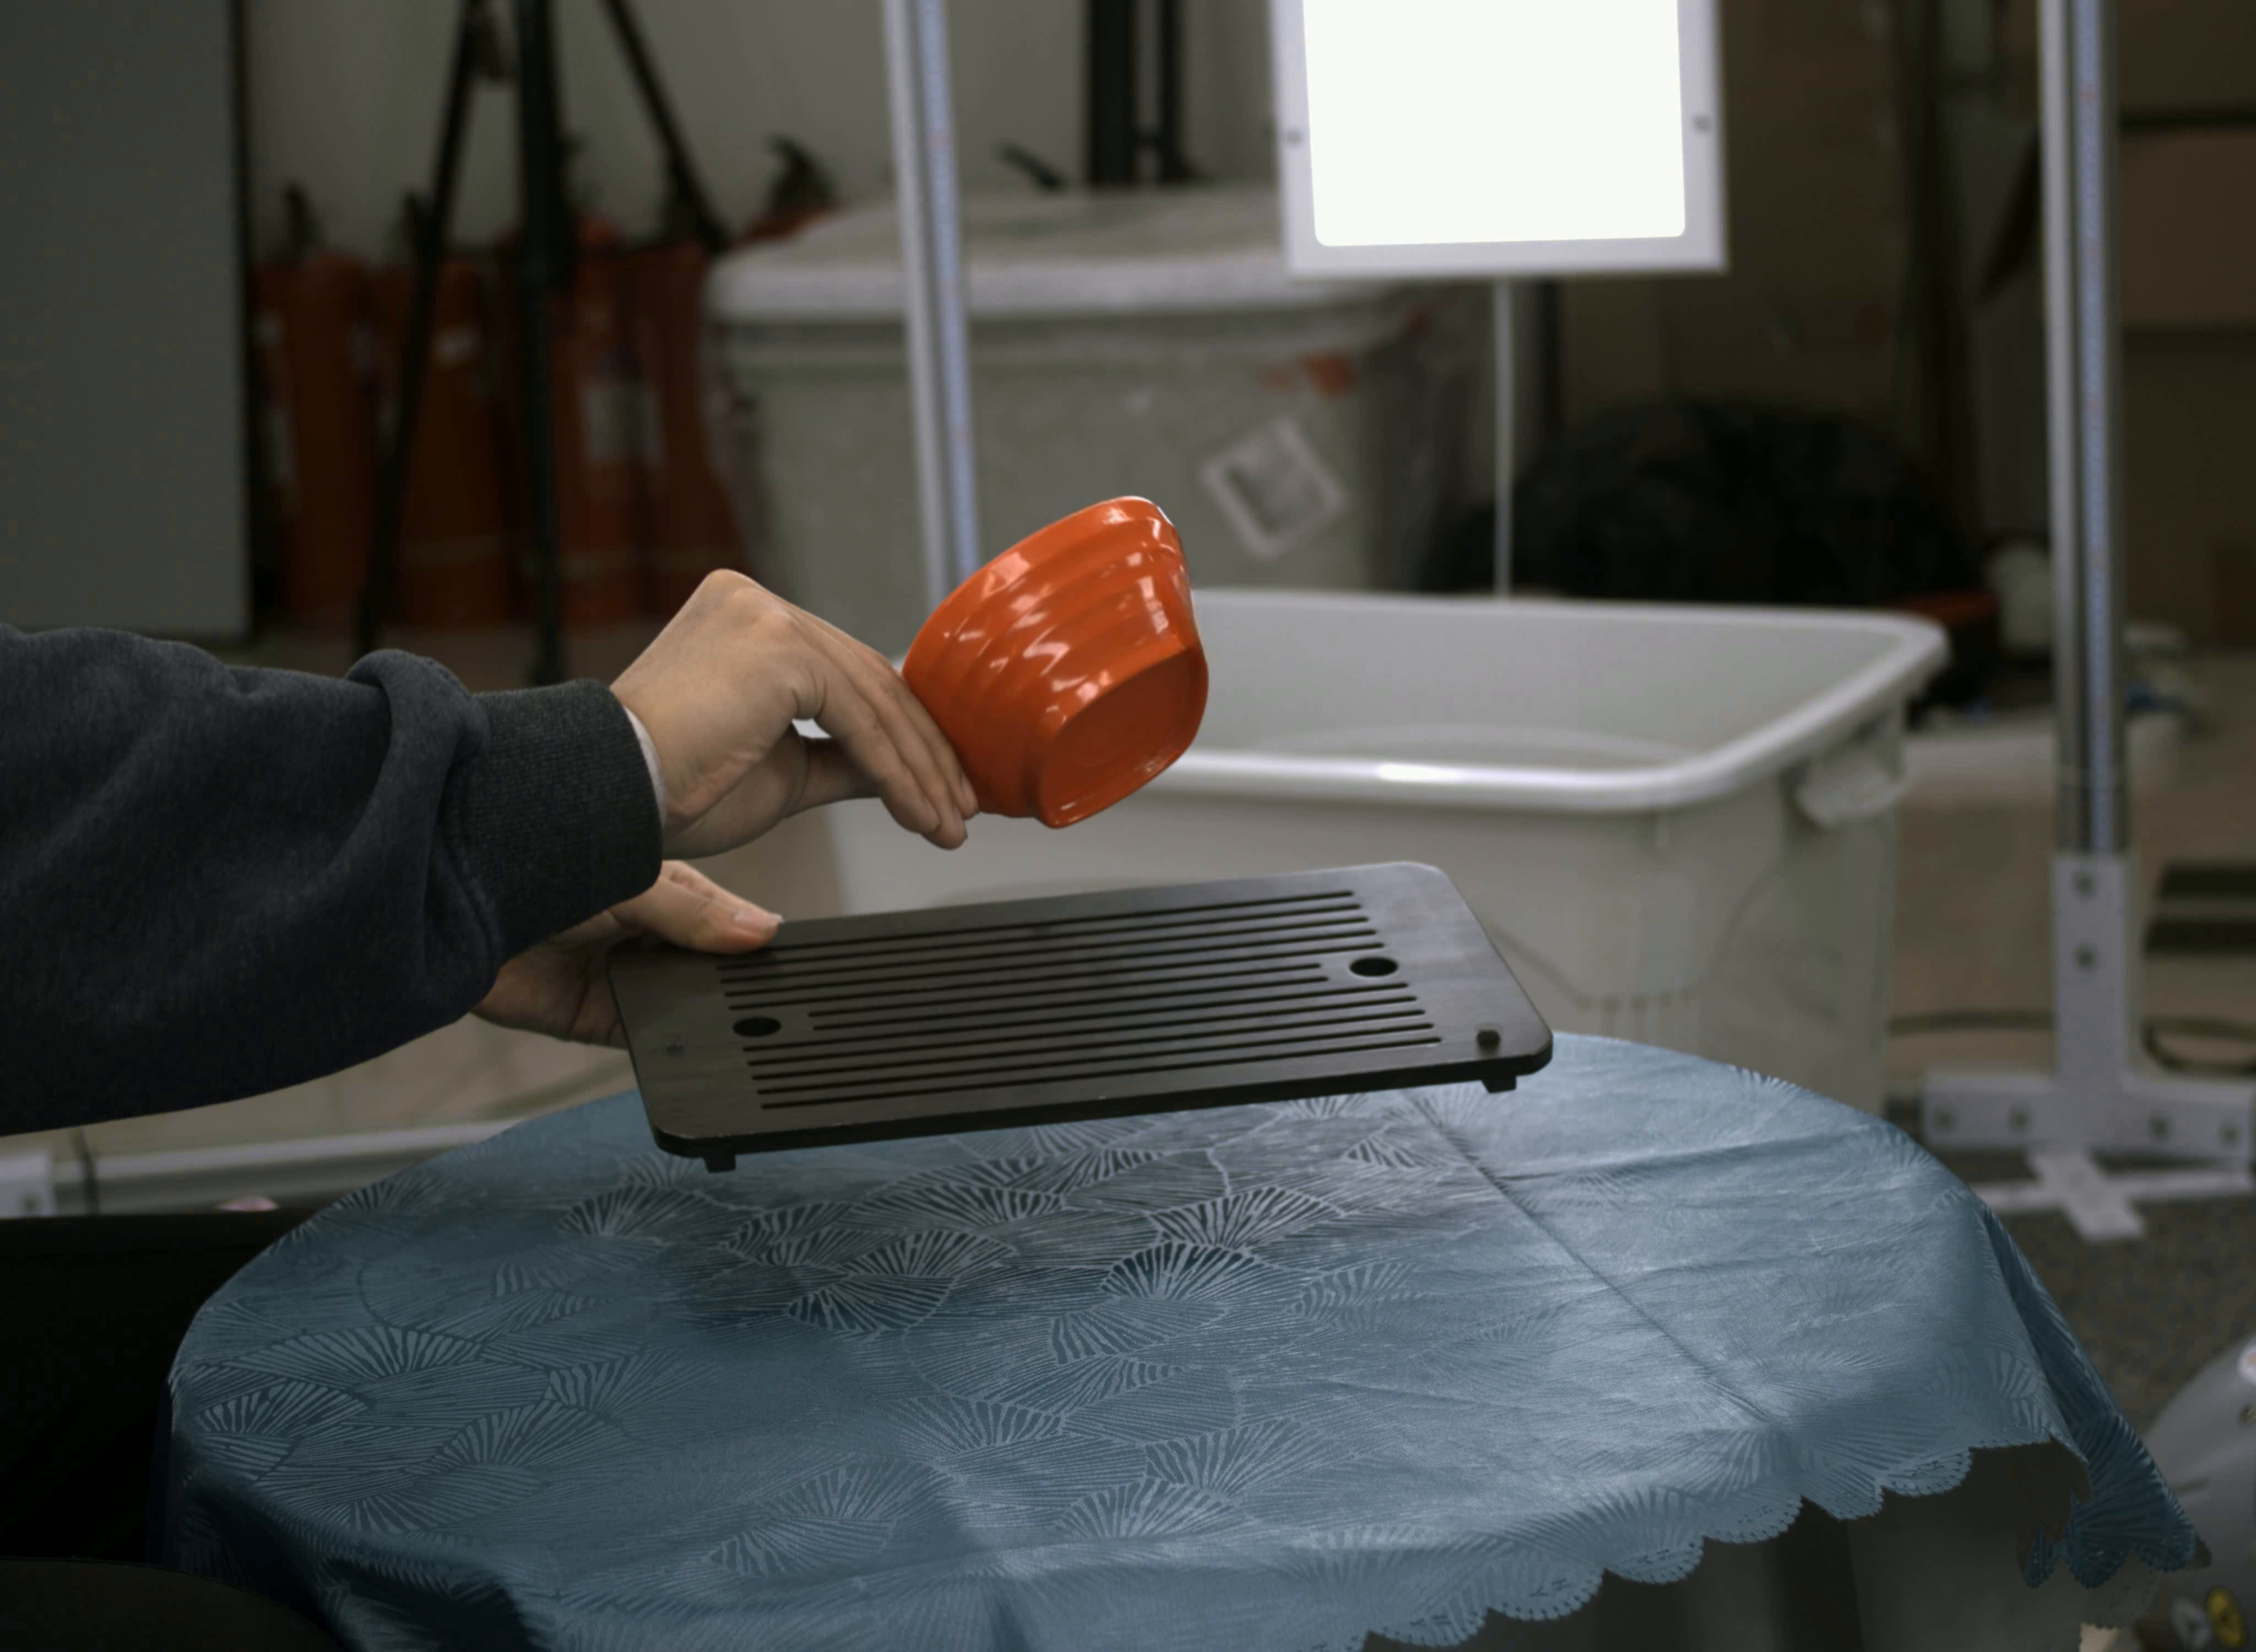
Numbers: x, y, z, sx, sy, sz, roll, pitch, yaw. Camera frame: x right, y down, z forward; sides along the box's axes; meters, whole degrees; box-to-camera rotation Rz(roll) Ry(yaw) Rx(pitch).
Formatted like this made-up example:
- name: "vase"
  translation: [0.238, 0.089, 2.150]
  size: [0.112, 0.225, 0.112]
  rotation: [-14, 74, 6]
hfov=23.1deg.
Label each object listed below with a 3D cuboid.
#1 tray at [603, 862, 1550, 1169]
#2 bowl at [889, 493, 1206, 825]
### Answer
- name: "tray"
  translation: [-0.021, 0.064, 1.886]
  size: [0.303, 0.019, 0.171]
  rotation: [-6, 23, -8]
- name: "bowl"
  translation: [-0.017, -0.044, 1.733]
  size: [0.116, 0.121, 0.052]
  rotation: [-16, 56, -40]
